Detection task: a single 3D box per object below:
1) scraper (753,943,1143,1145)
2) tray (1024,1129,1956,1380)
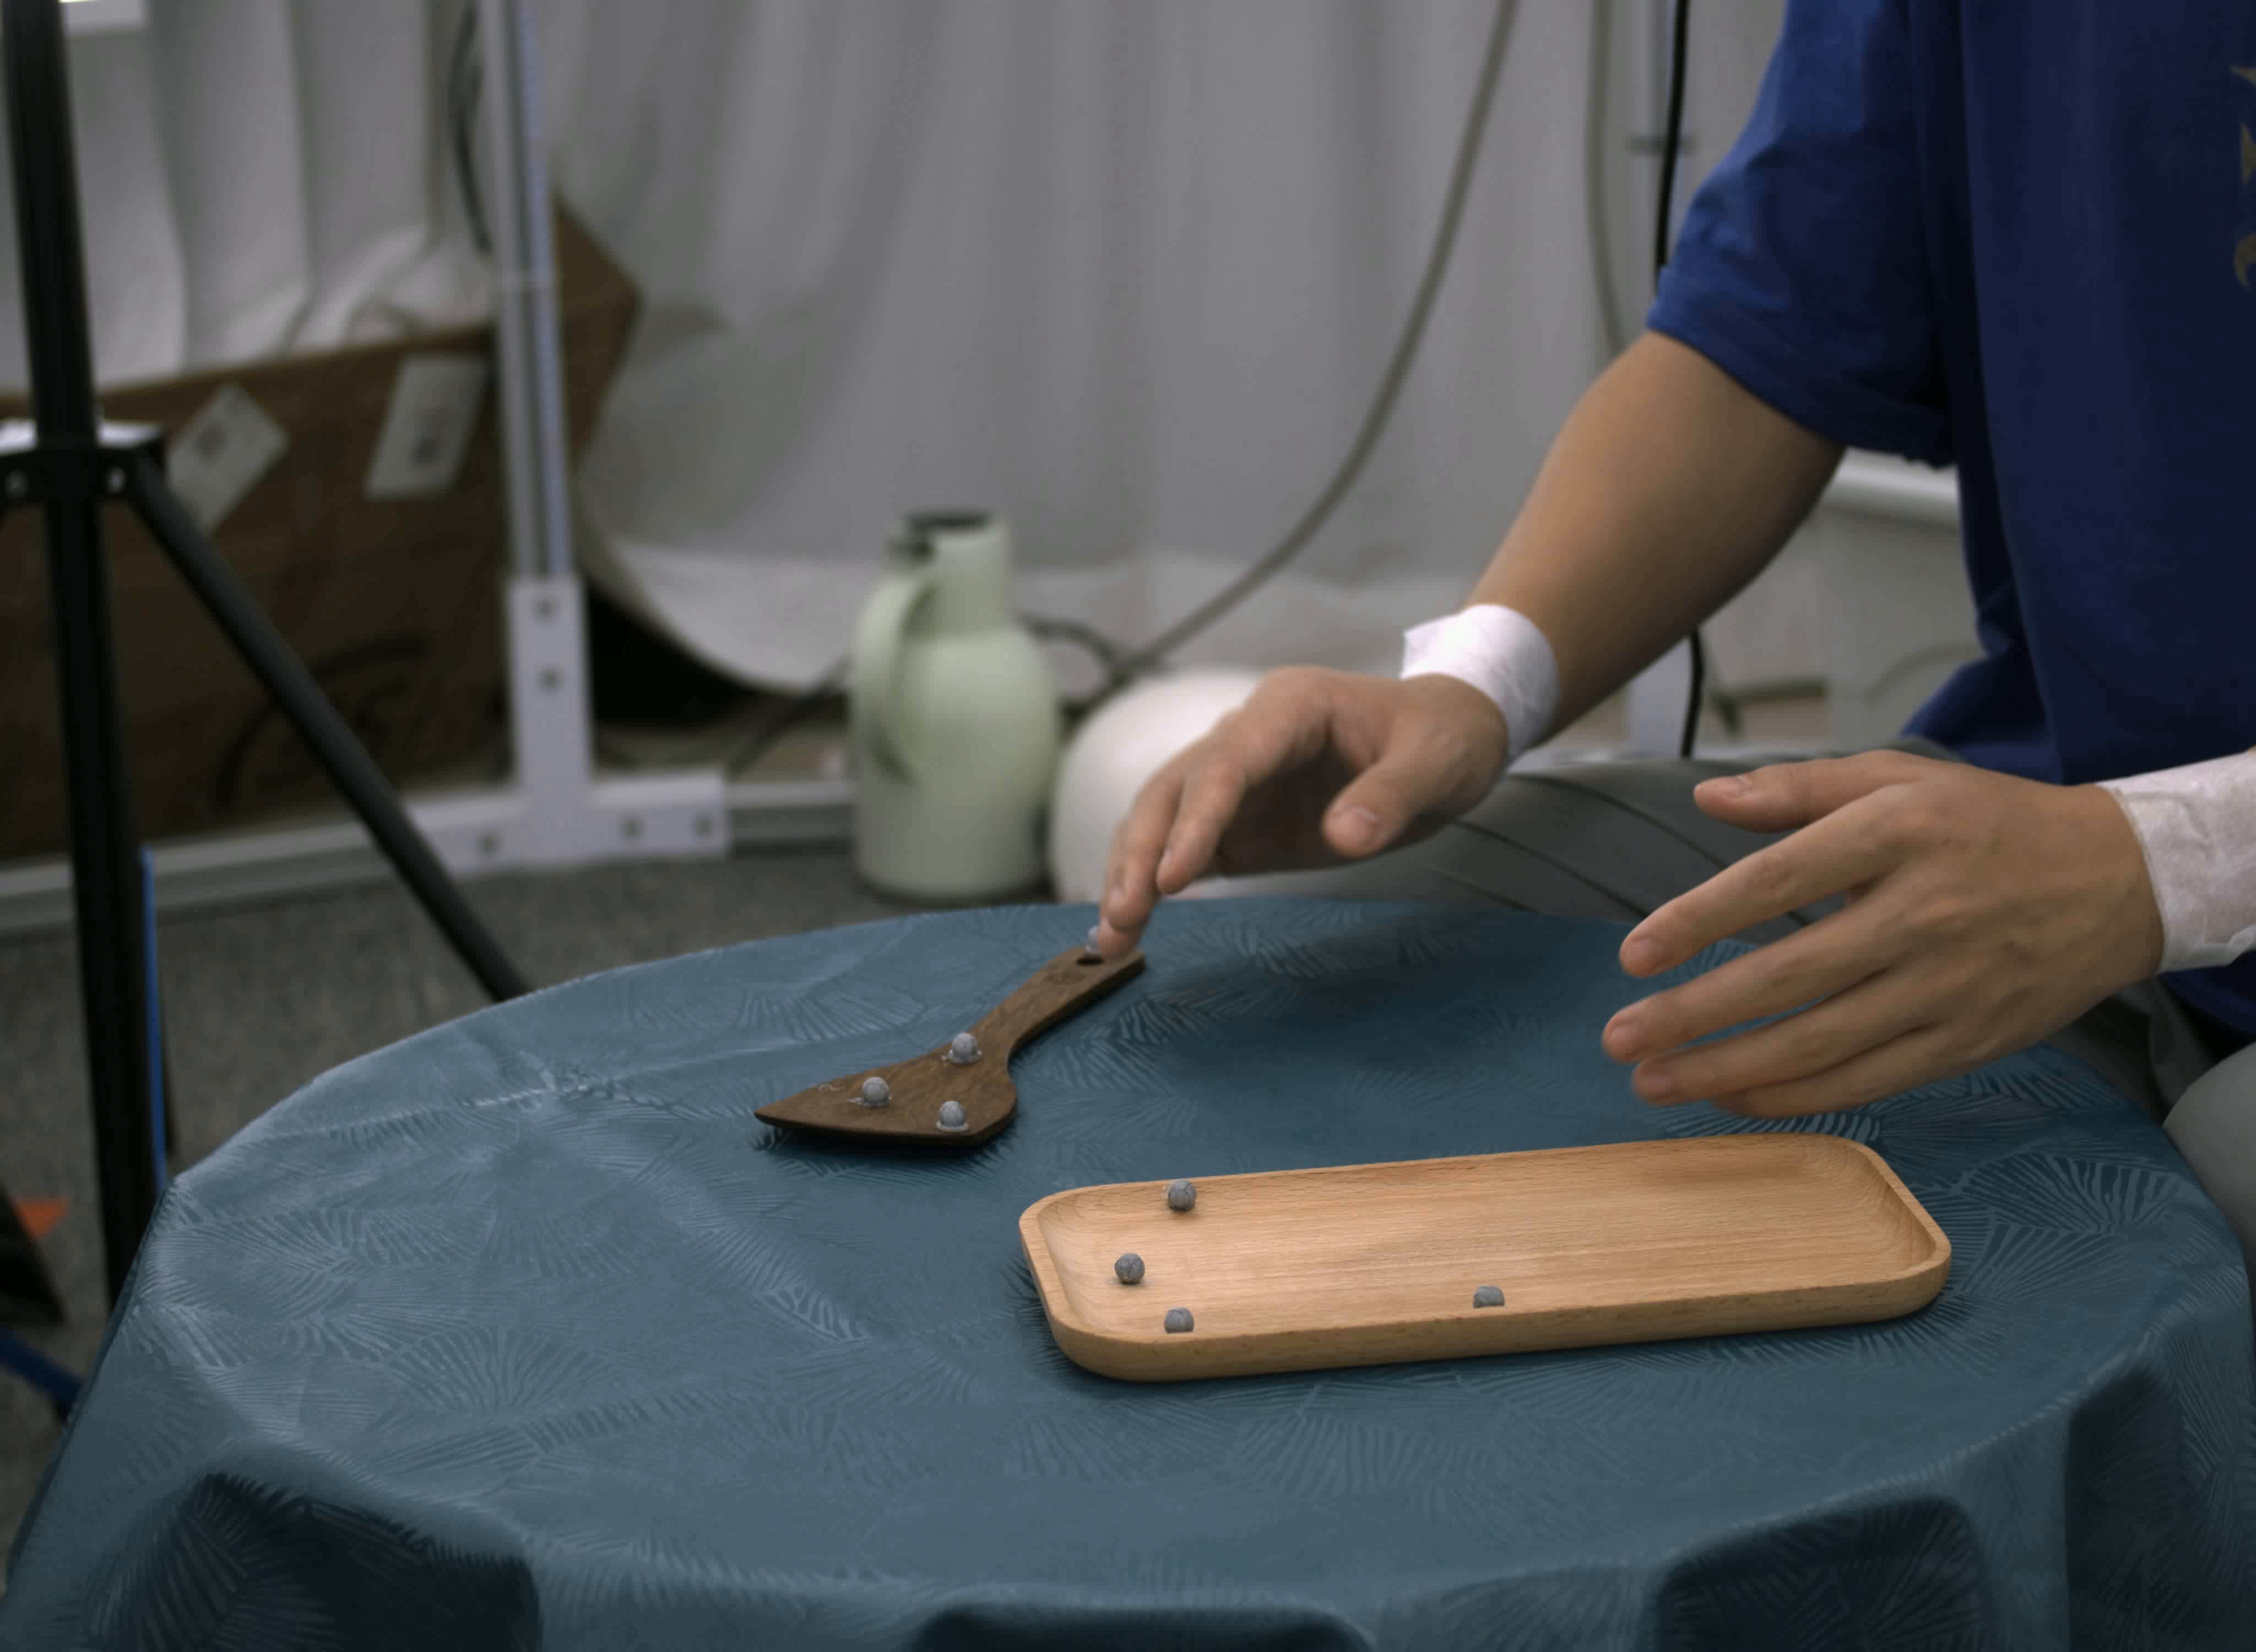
[{"bbox_3d":[-0.044,0.068,1.689,0.077,0.011,0.208,5,17,22],"label":"scraper"},{"bbox_3d":[0.099,0.119,1.473,0.248,0.023,0.132,-3,18,-4],"label":"tray"}]
